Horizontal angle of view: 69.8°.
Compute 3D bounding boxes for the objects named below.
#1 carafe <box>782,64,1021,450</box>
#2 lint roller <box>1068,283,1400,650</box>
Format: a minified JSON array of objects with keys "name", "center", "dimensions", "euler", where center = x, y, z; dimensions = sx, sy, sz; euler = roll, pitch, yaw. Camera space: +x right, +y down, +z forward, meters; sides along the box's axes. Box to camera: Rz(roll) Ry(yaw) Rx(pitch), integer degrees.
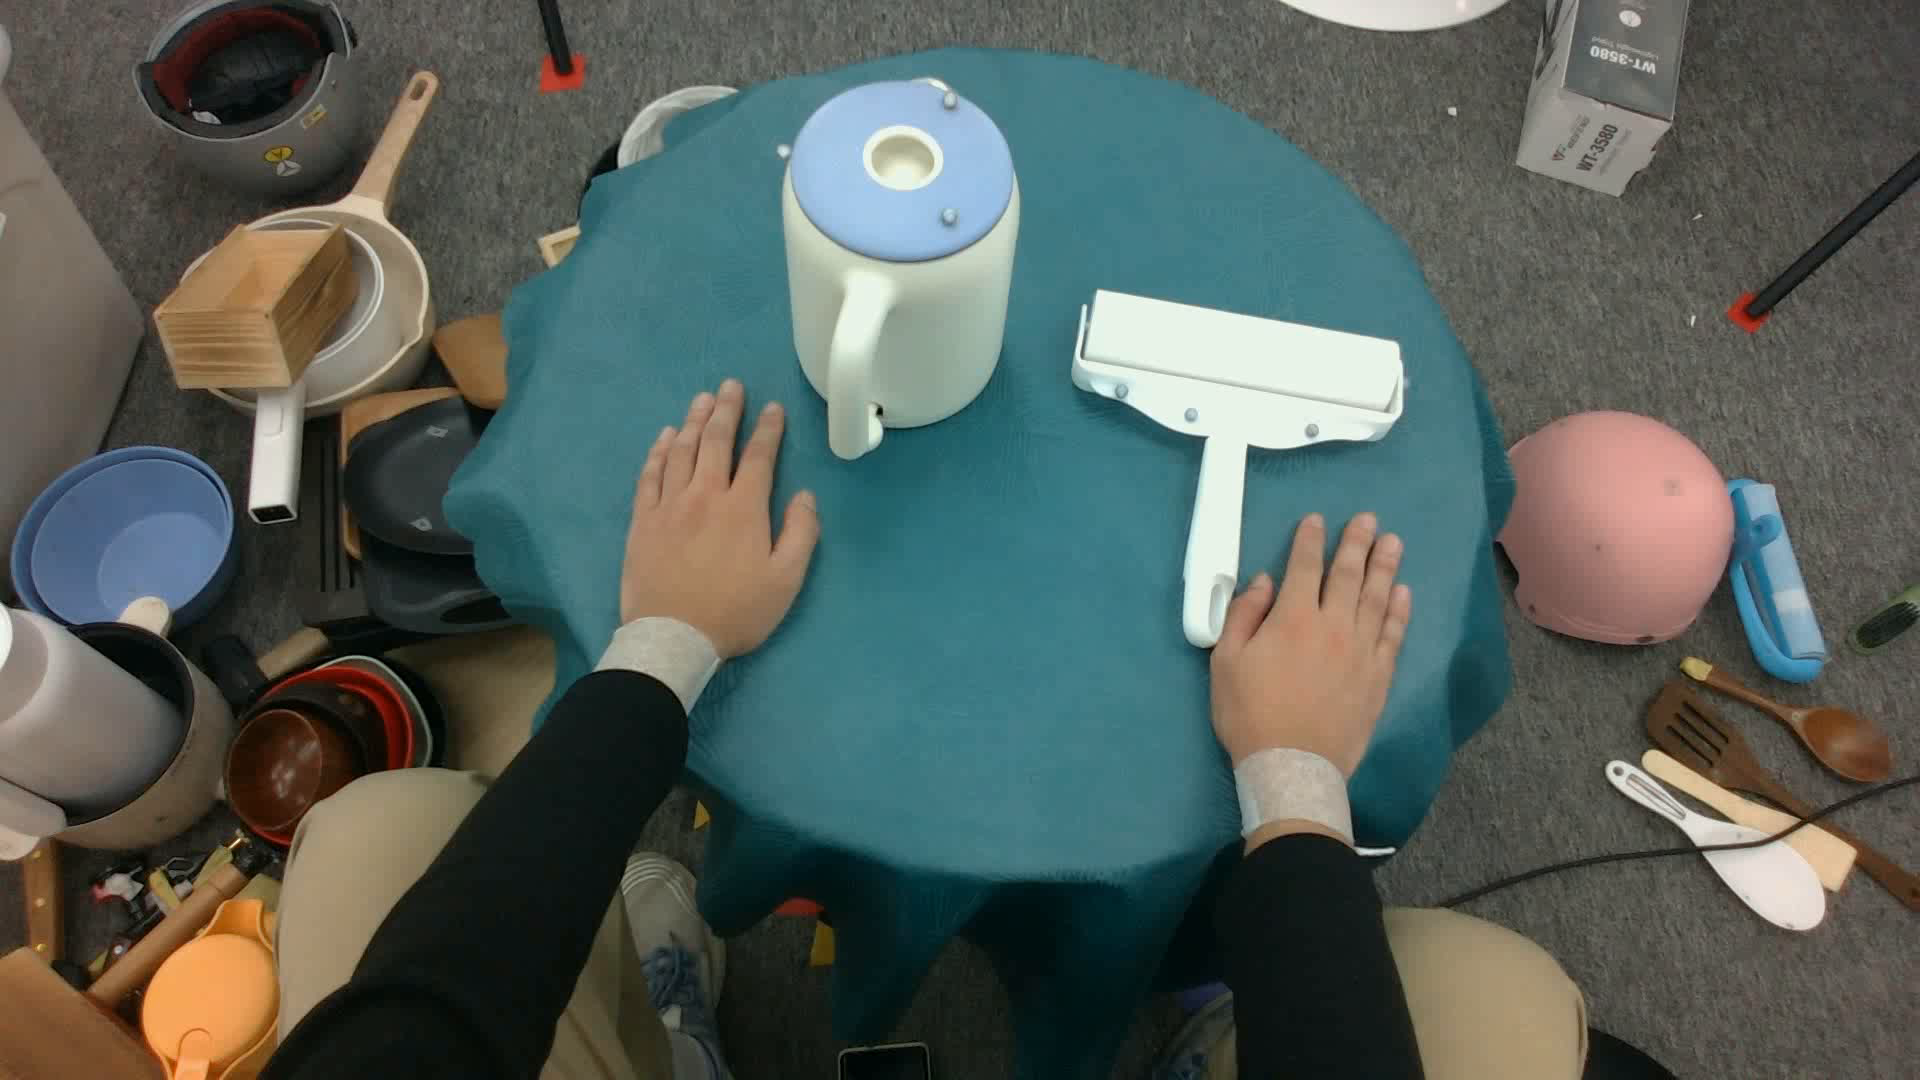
[{"name":"carafe","center":[-0.040,-0.147,0.791],"dimensions":[0.132,0.182,0.192],"euler":[12,66,3]},{"name":"lint roller","center":[0.159,-0.043,0.826],"dimensions":[0.203,0.048,0.226],"euler":[10,65,0]}]
